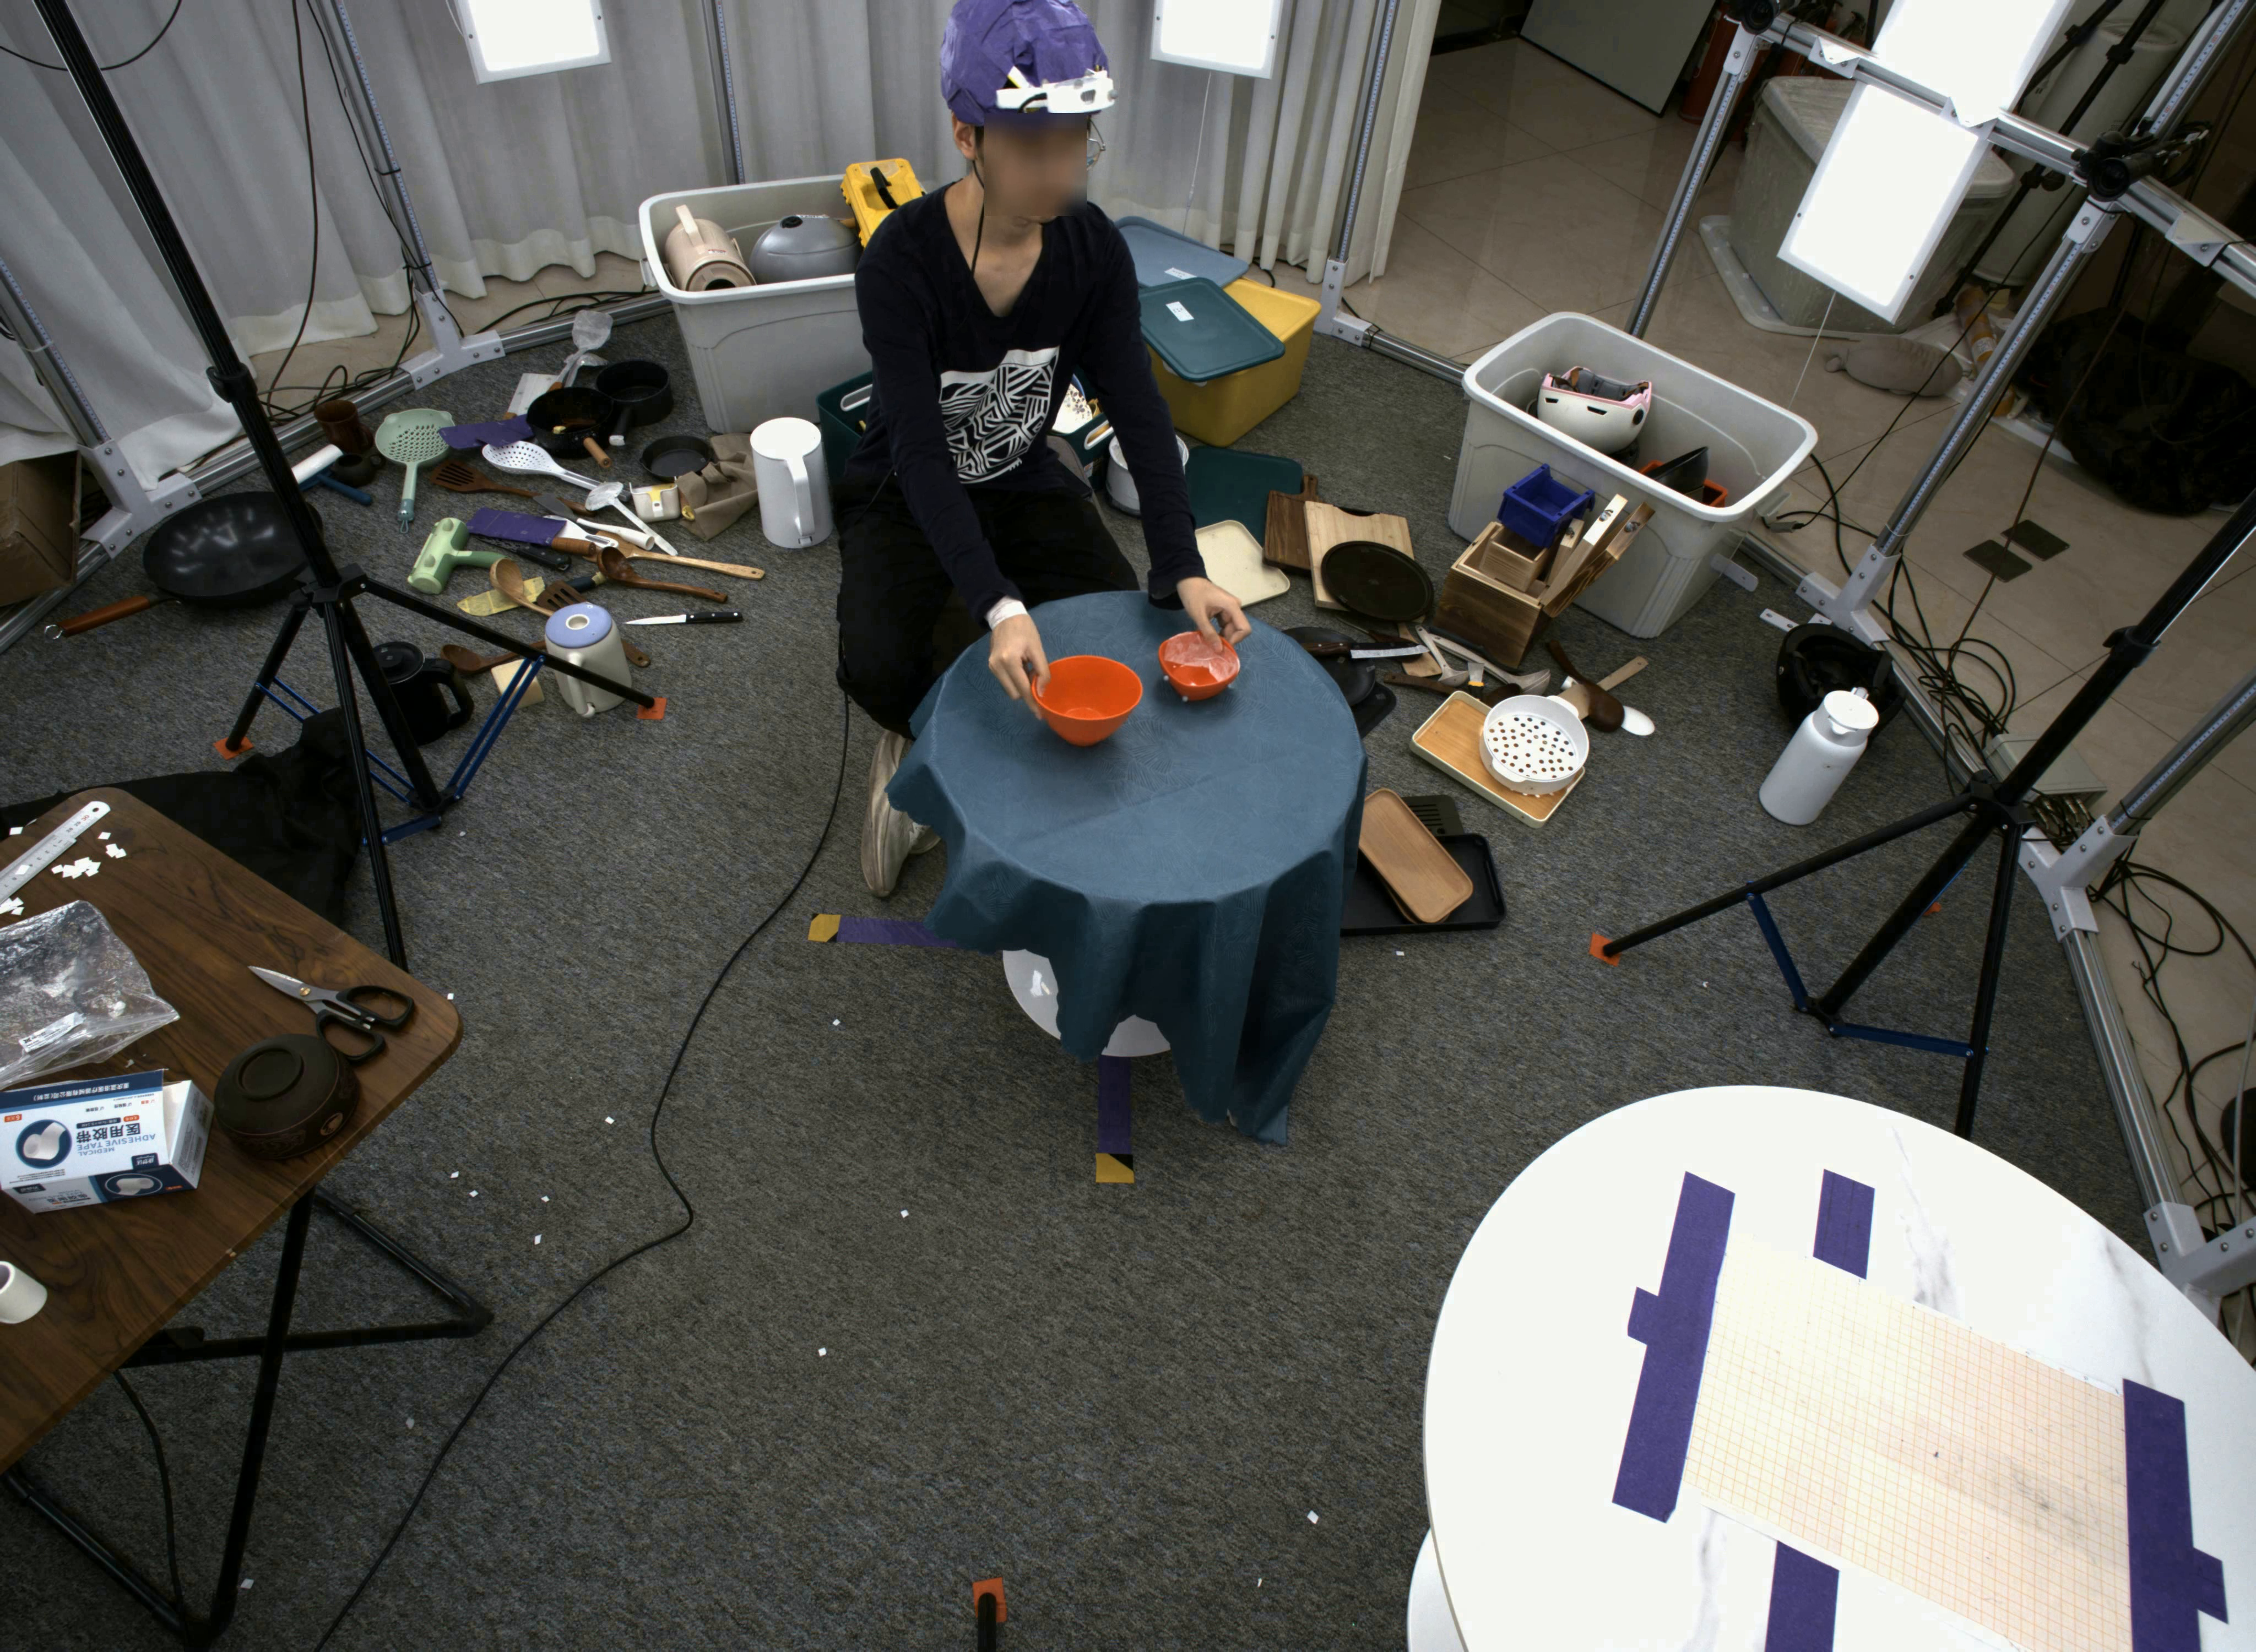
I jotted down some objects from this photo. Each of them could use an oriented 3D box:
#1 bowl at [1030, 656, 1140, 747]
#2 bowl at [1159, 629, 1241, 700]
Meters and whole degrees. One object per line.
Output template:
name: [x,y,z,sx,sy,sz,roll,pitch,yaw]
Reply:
bowl: [-0.059,-0.157,1.735,0.148,0.102,0.152,2,49,-2]
bowl: [0.100,-0.224,1.833,0.119,0.050,0.122,2,51,-3]
